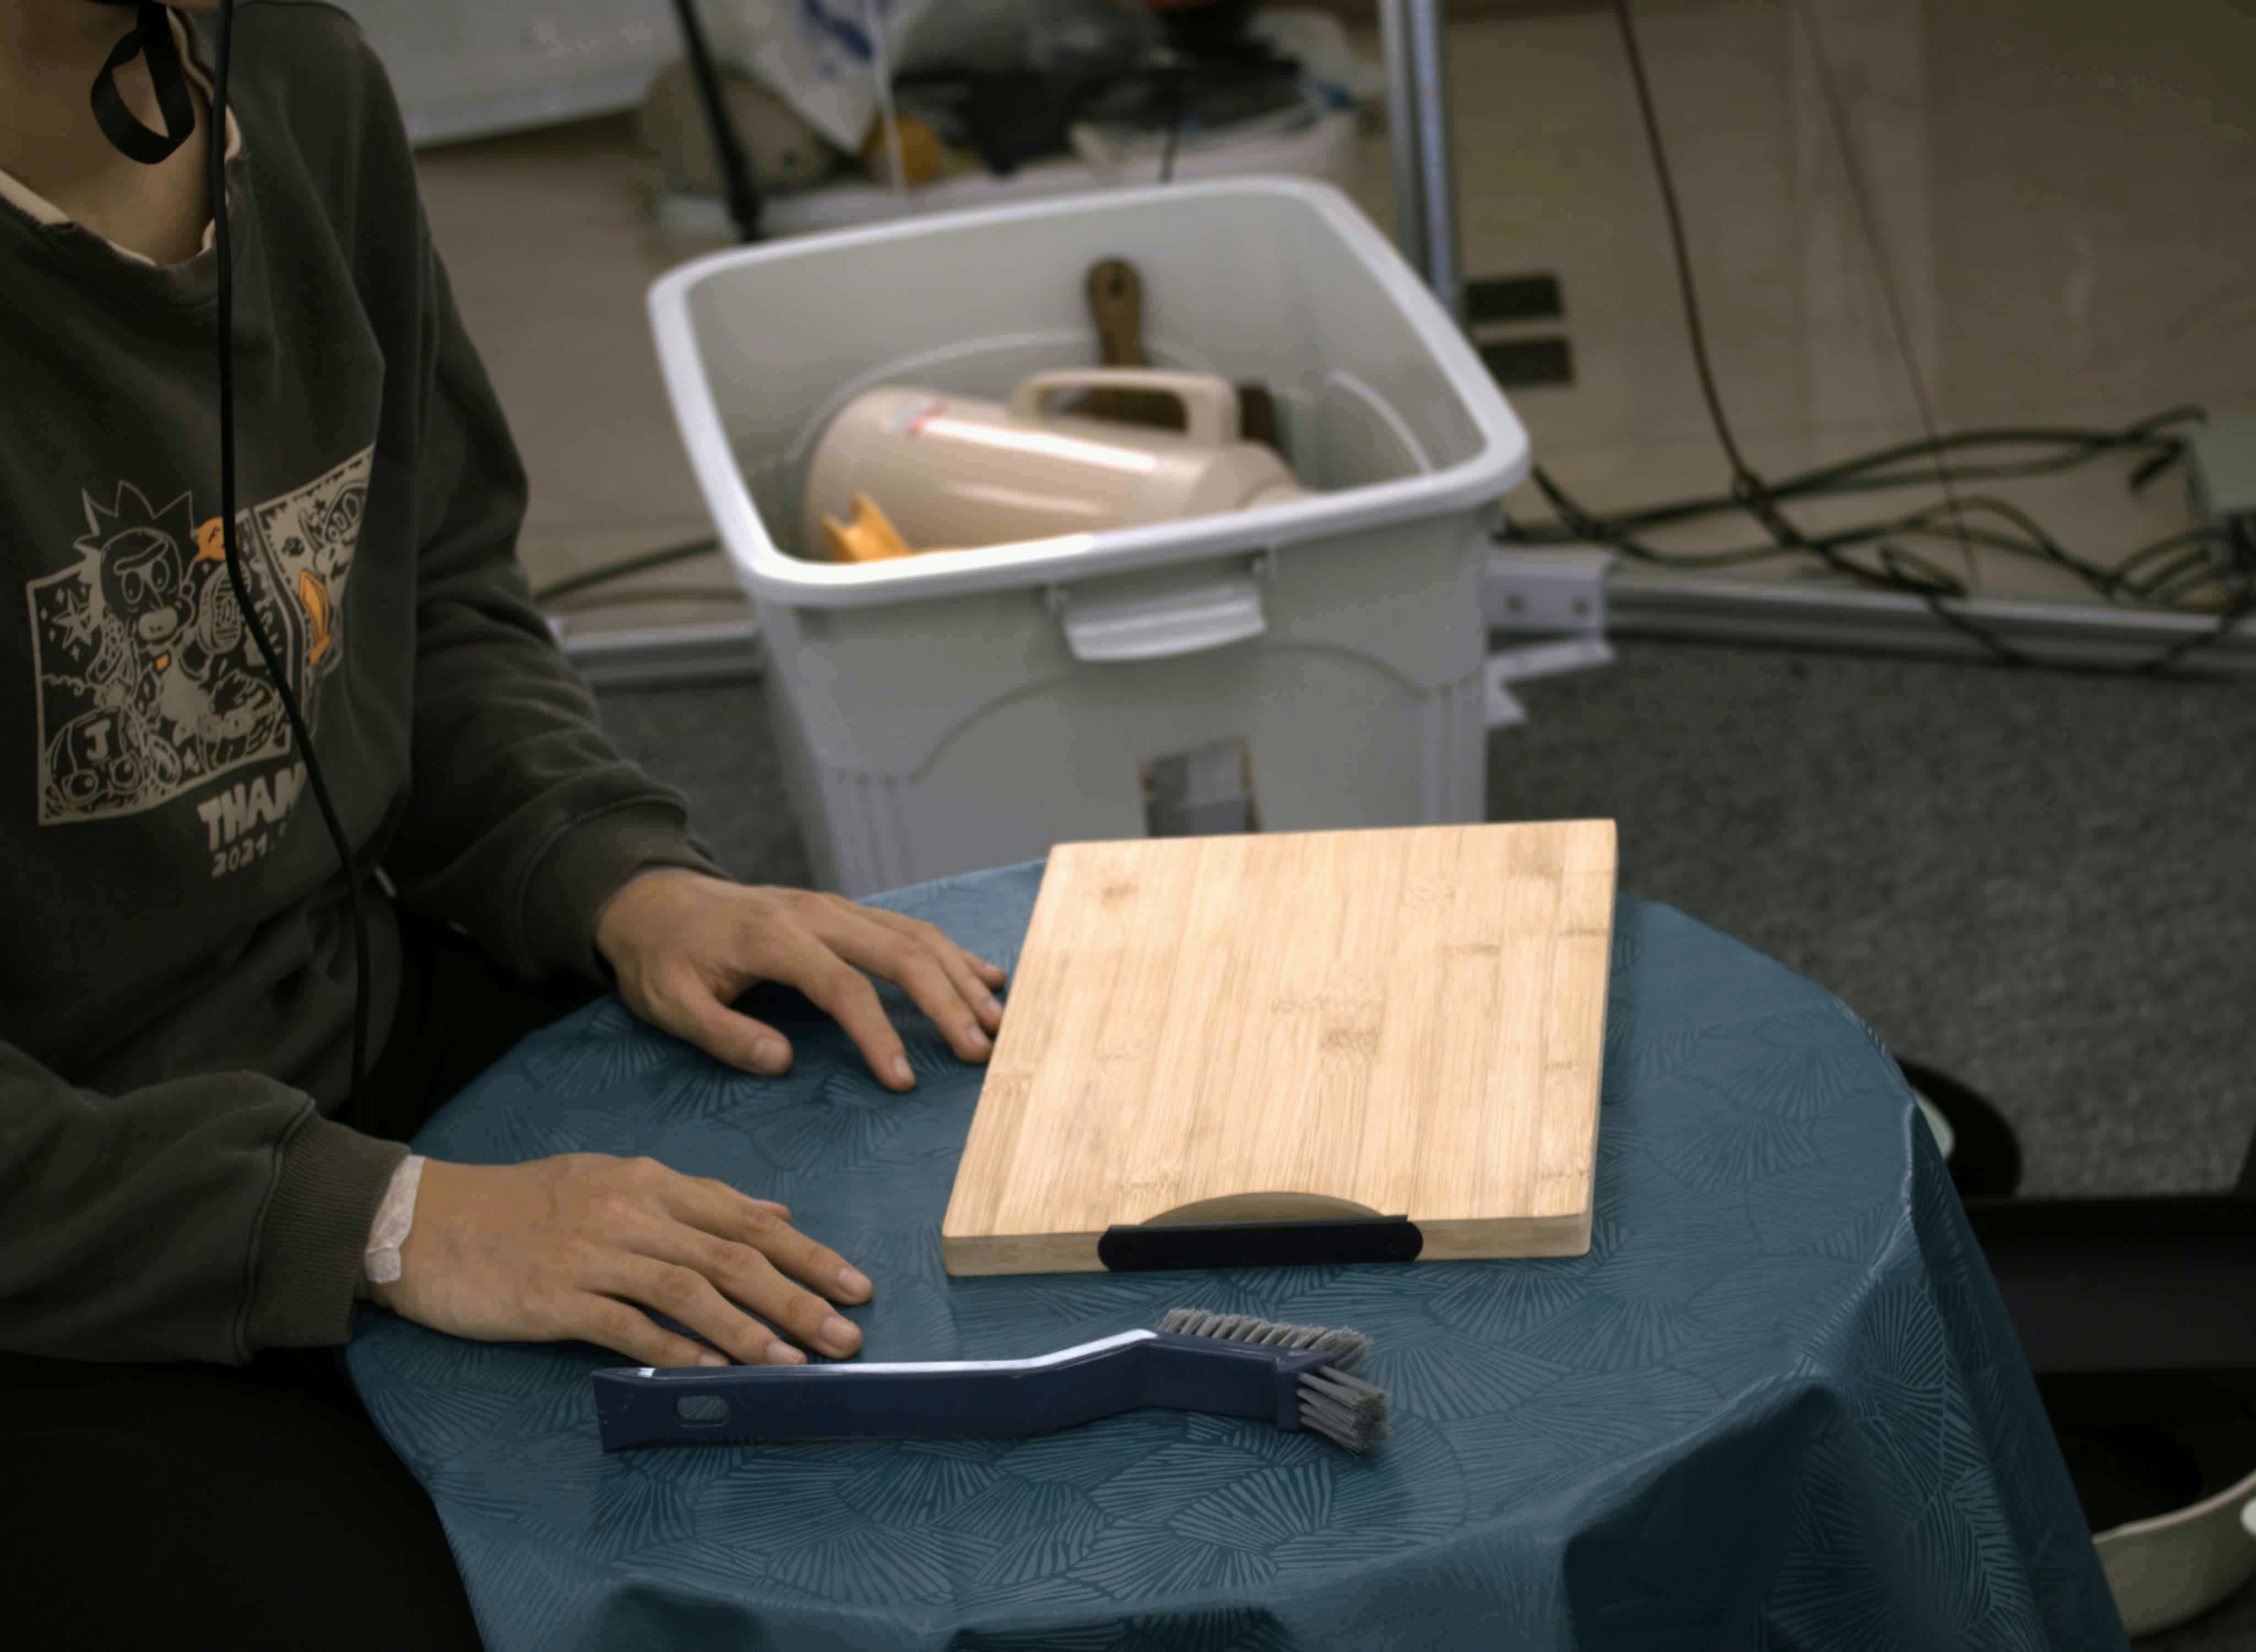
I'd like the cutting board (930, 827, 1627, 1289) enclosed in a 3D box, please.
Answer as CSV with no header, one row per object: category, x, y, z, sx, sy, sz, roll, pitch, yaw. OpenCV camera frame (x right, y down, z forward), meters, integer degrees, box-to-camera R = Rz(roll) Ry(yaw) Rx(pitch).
cutting board,0.067,0.085,2.225,0.250,0.024,0.343,-4,25,8

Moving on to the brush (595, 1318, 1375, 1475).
brush,-0.052,0.202,1.988,0.273,0.034,0.094,-5,25,1
